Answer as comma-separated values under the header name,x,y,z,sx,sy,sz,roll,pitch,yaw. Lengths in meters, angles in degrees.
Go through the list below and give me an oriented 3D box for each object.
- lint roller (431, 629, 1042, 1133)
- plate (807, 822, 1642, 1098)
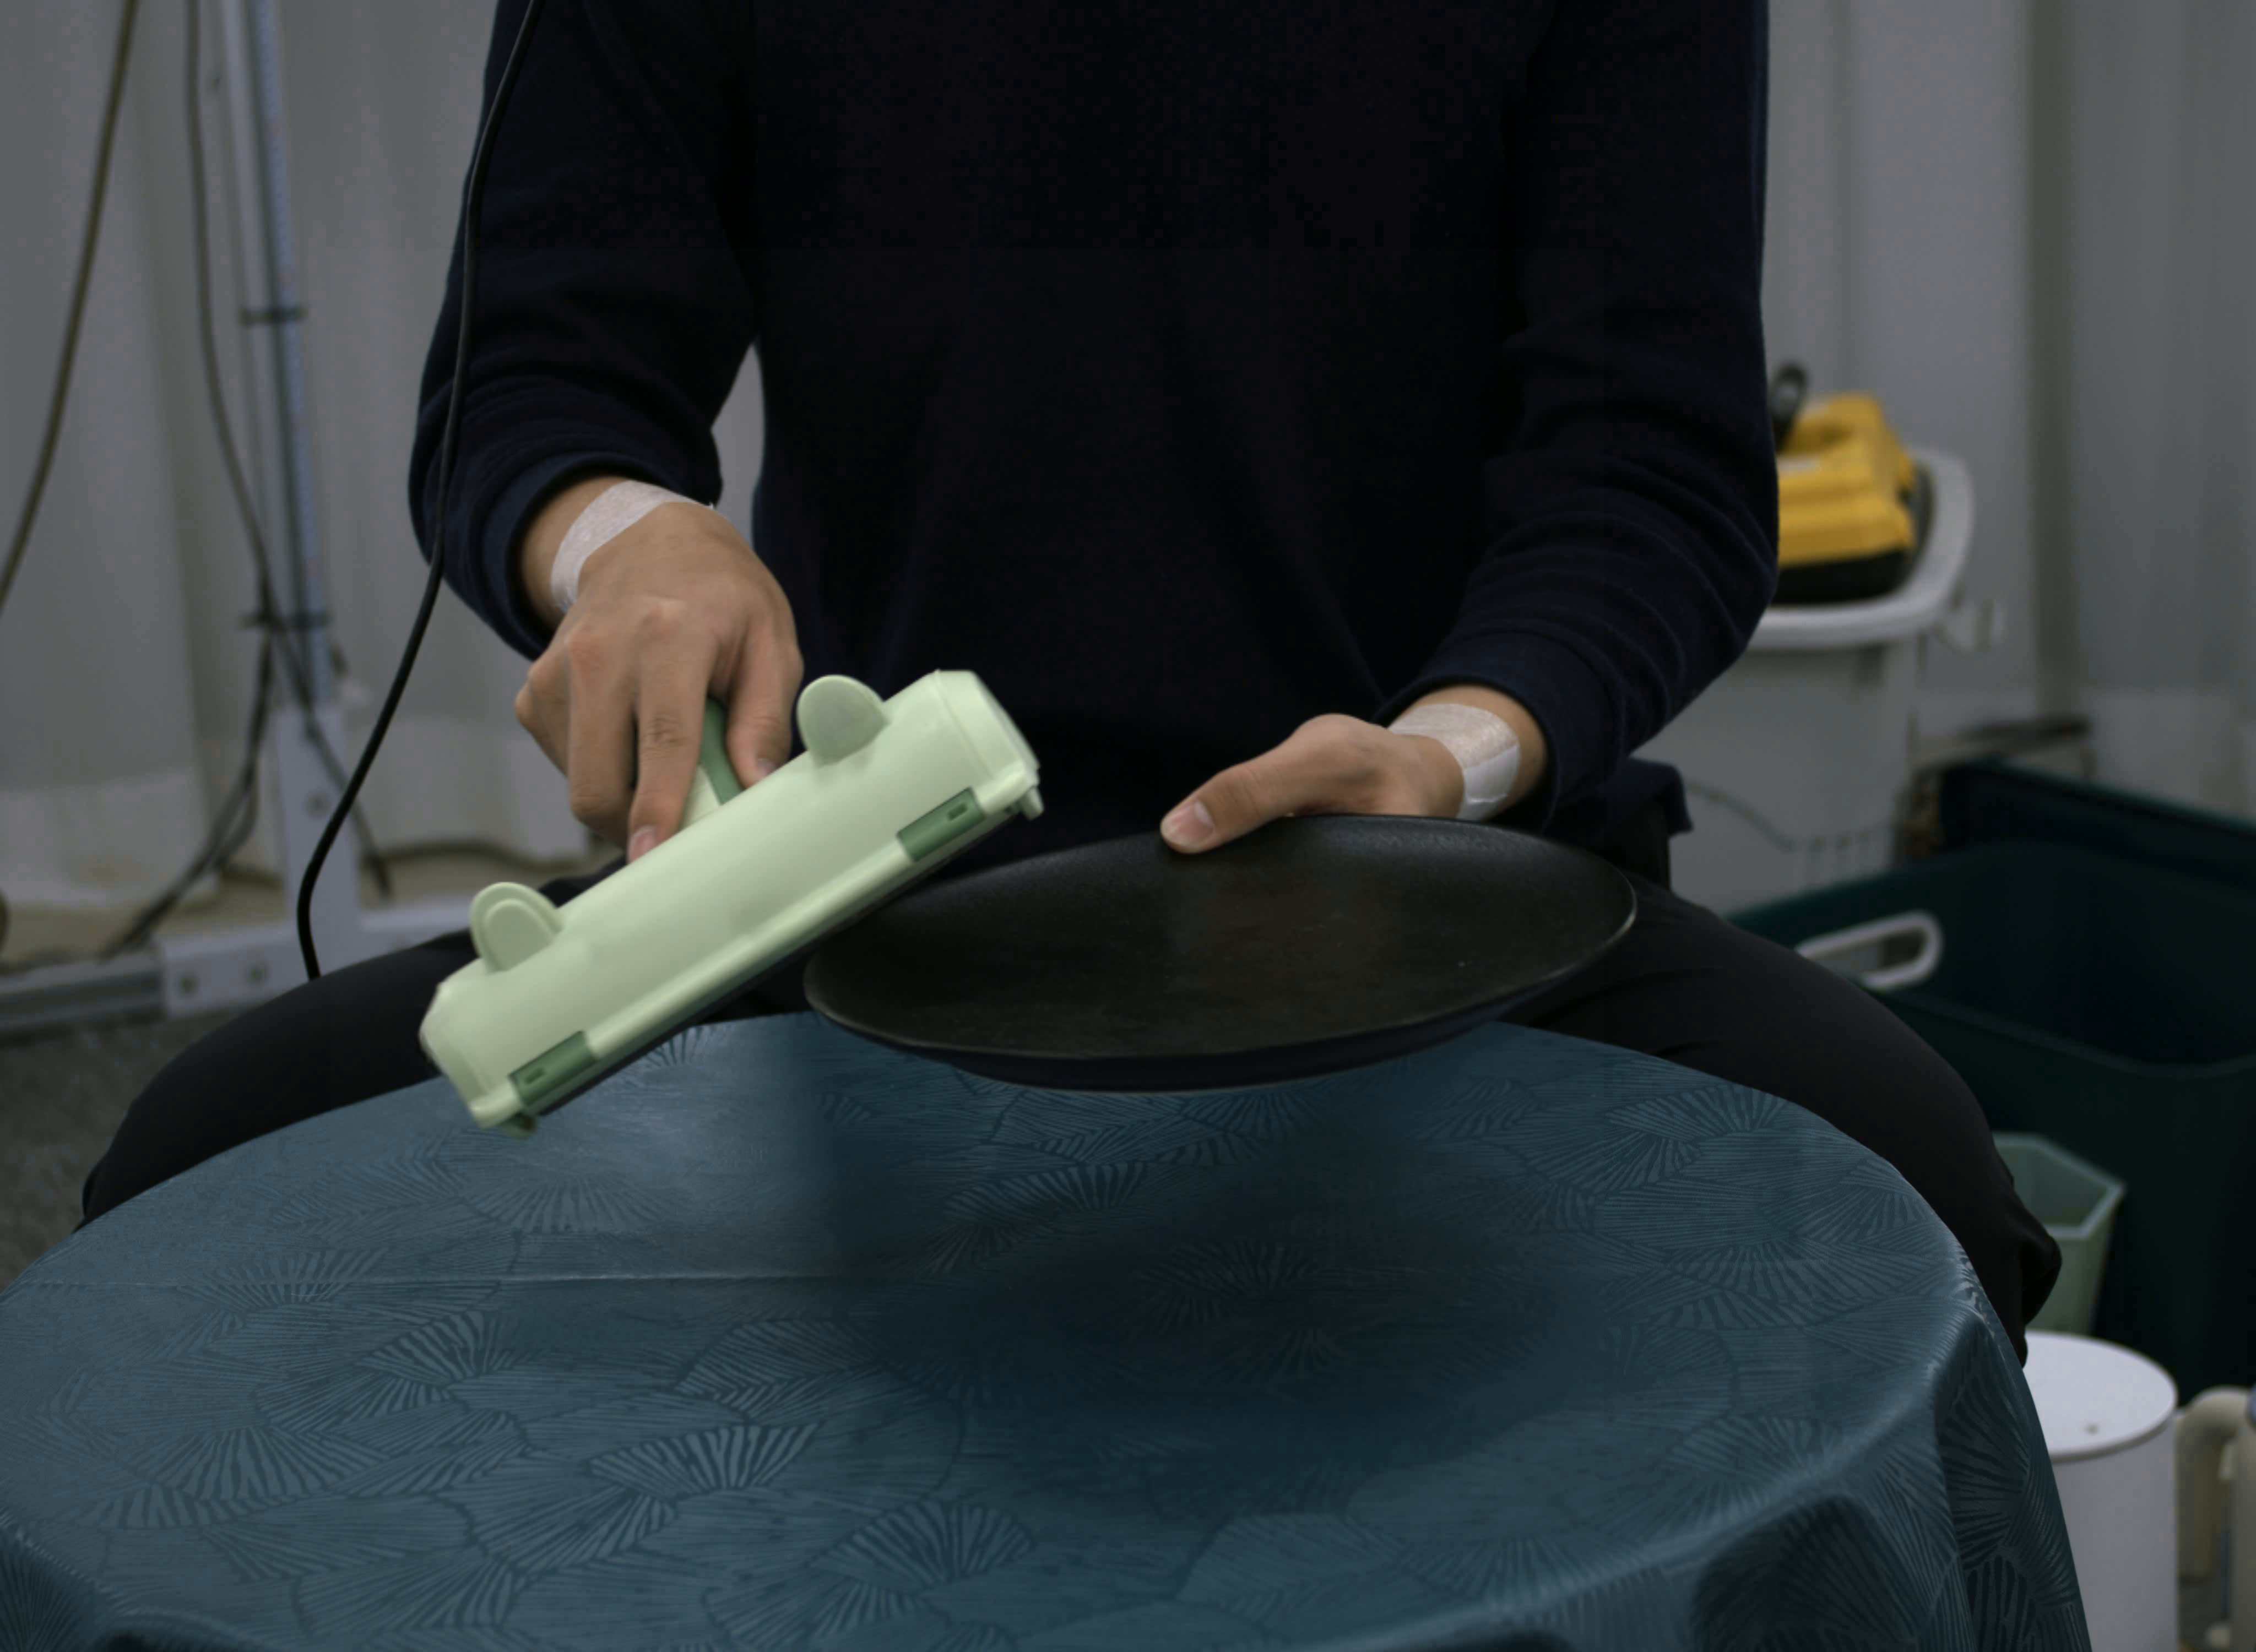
name,x,y,z,sx,sy,sz,roll,pitch,yaw
lint roller,-0.139,-0.018,1.675,0.198,0.081,0.186,-33,46,2
plate,0.029,0.041,1.591,0.243,0.023,0.246,-5,14,1
